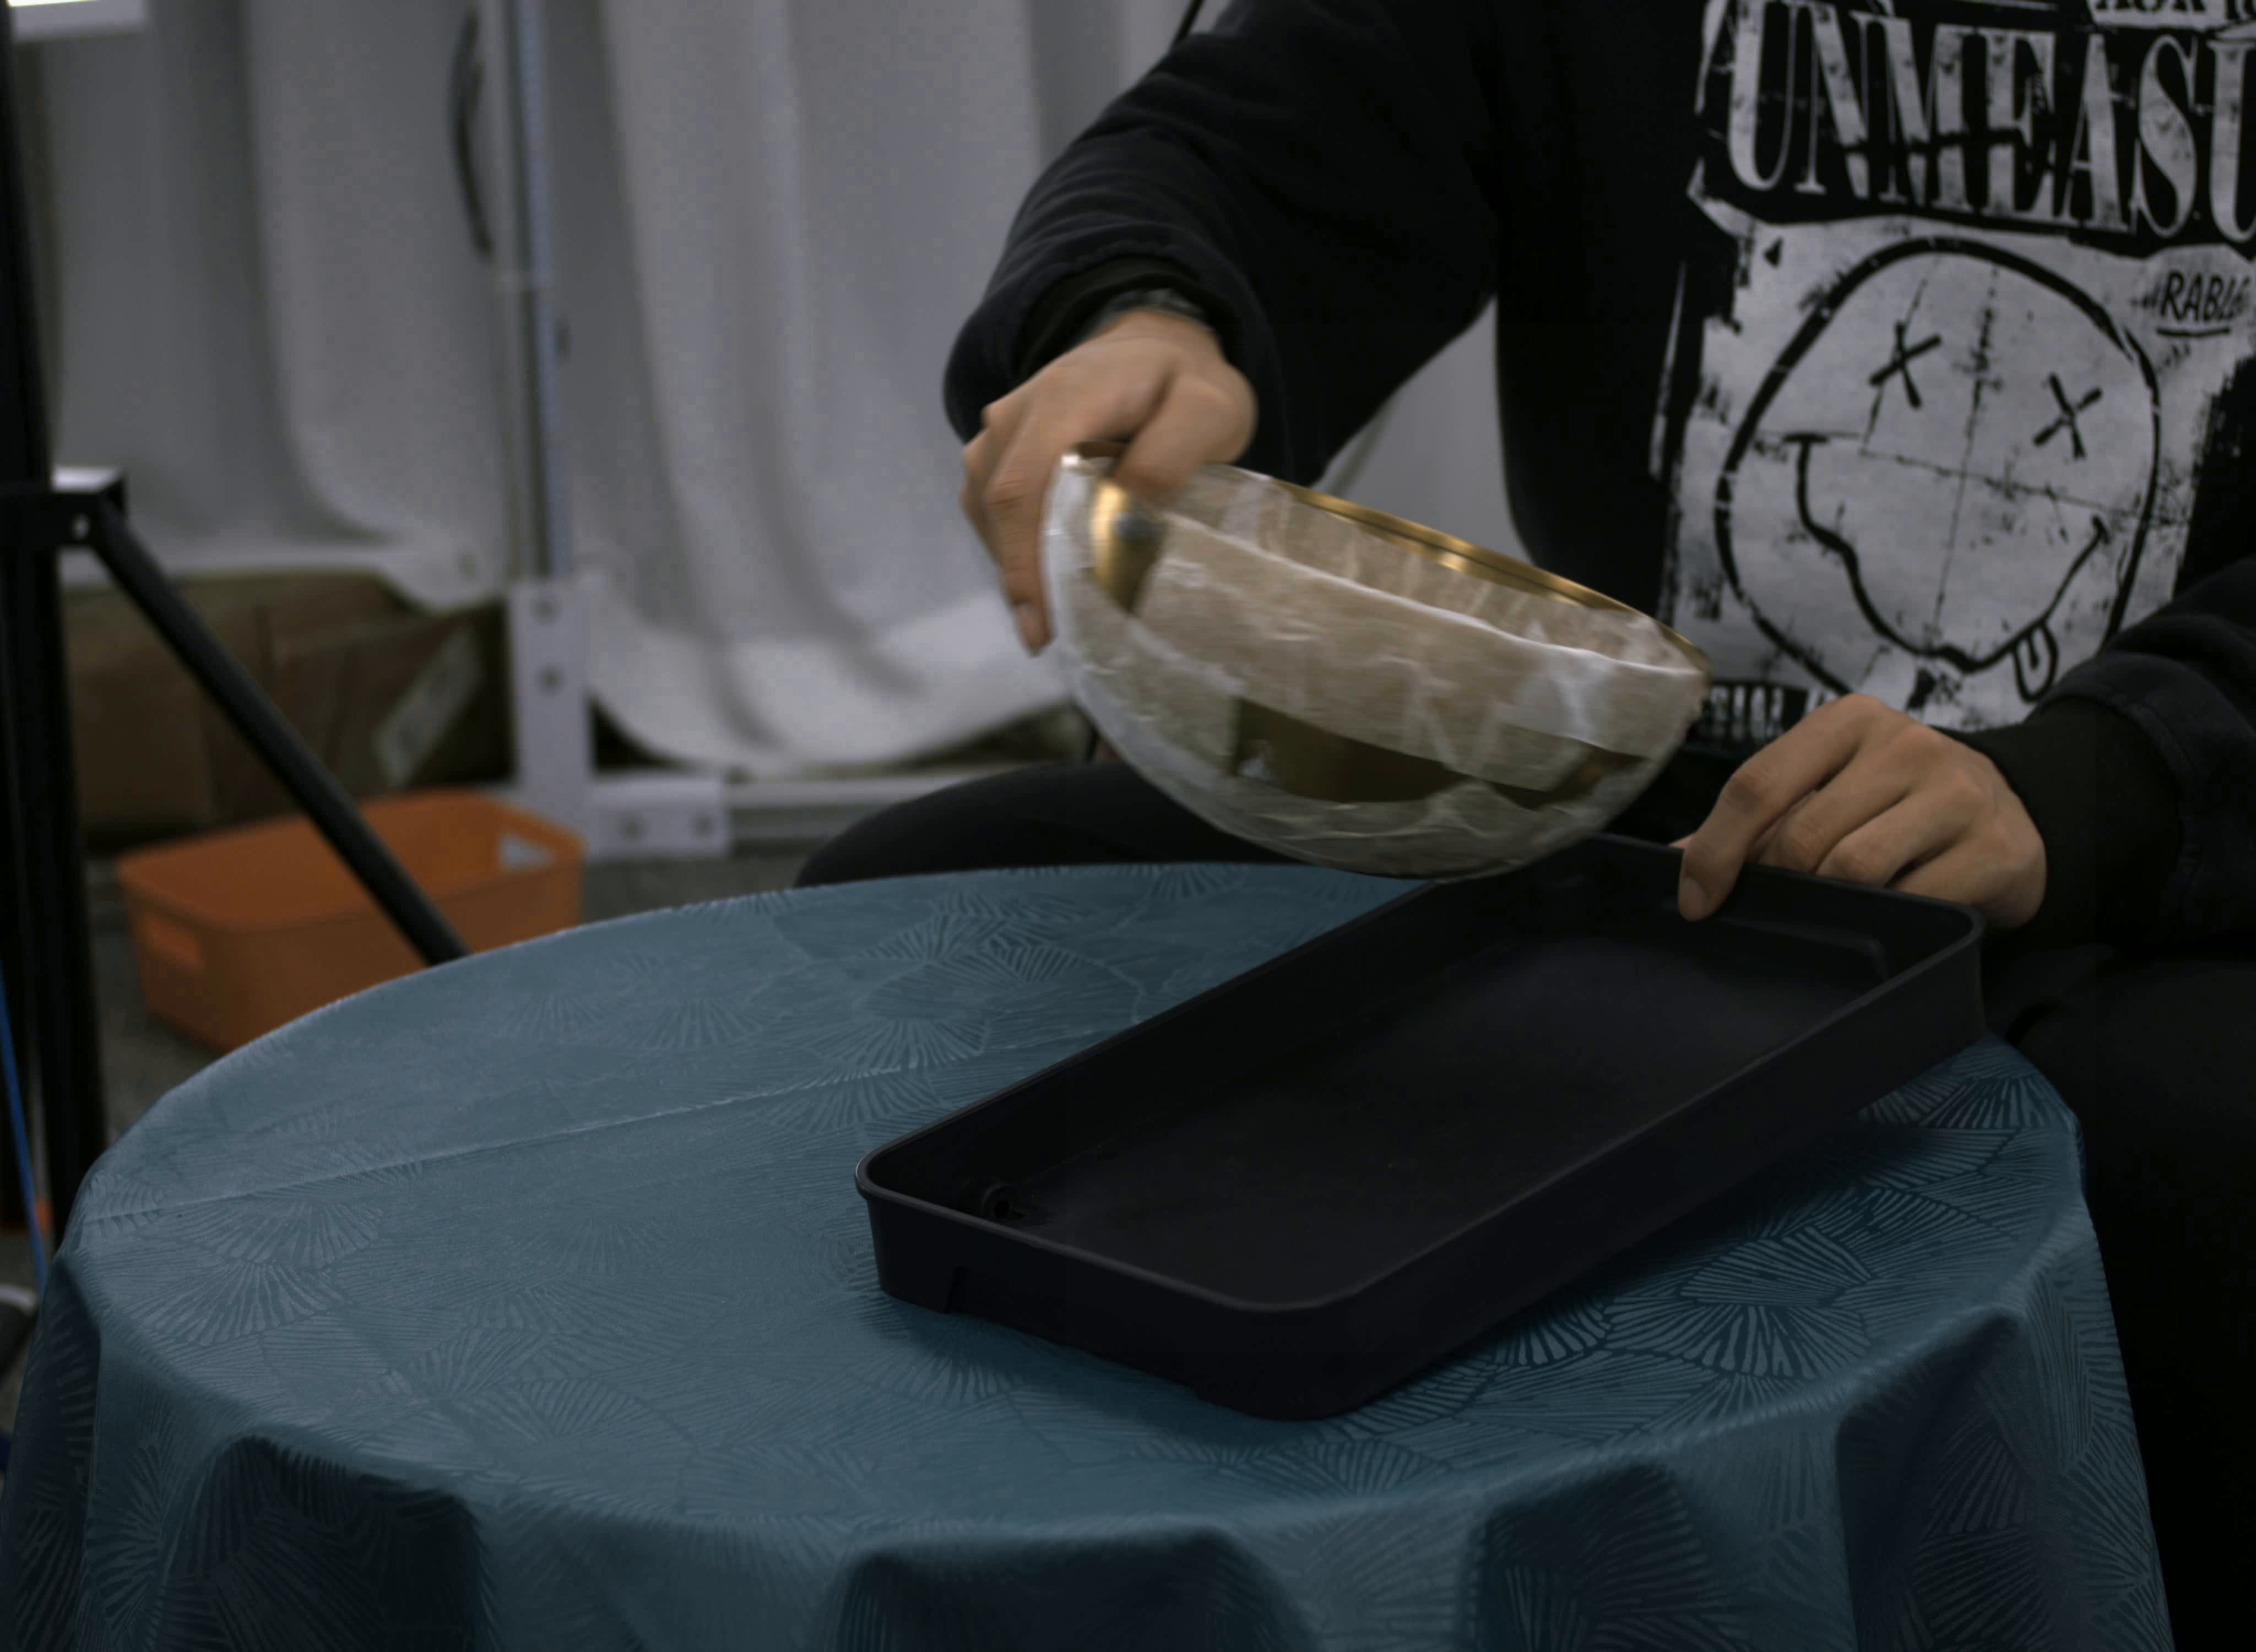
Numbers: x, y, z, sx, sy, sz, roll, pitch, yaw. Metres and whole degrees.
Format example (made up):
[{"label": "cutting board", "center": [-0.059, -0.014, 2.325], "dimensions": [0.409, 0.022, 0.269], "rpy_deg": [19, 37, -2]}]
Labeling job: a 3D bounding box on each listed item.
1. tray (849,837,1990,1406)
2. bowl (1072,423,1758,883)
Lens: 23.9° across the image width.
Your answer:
[{"label": "tray", "center": [0.089, 0.078, 1.524], "dimensions": [0.311, 0.037, 0.188], "rpy_deg": [-23, 23, -39]}, {"label": "bowl", "center": [0.070, -0.039, 1.556], "dimensions": [0.213, 0.095, 0.215], "rpy_deg": [18, 10, -5]}]
